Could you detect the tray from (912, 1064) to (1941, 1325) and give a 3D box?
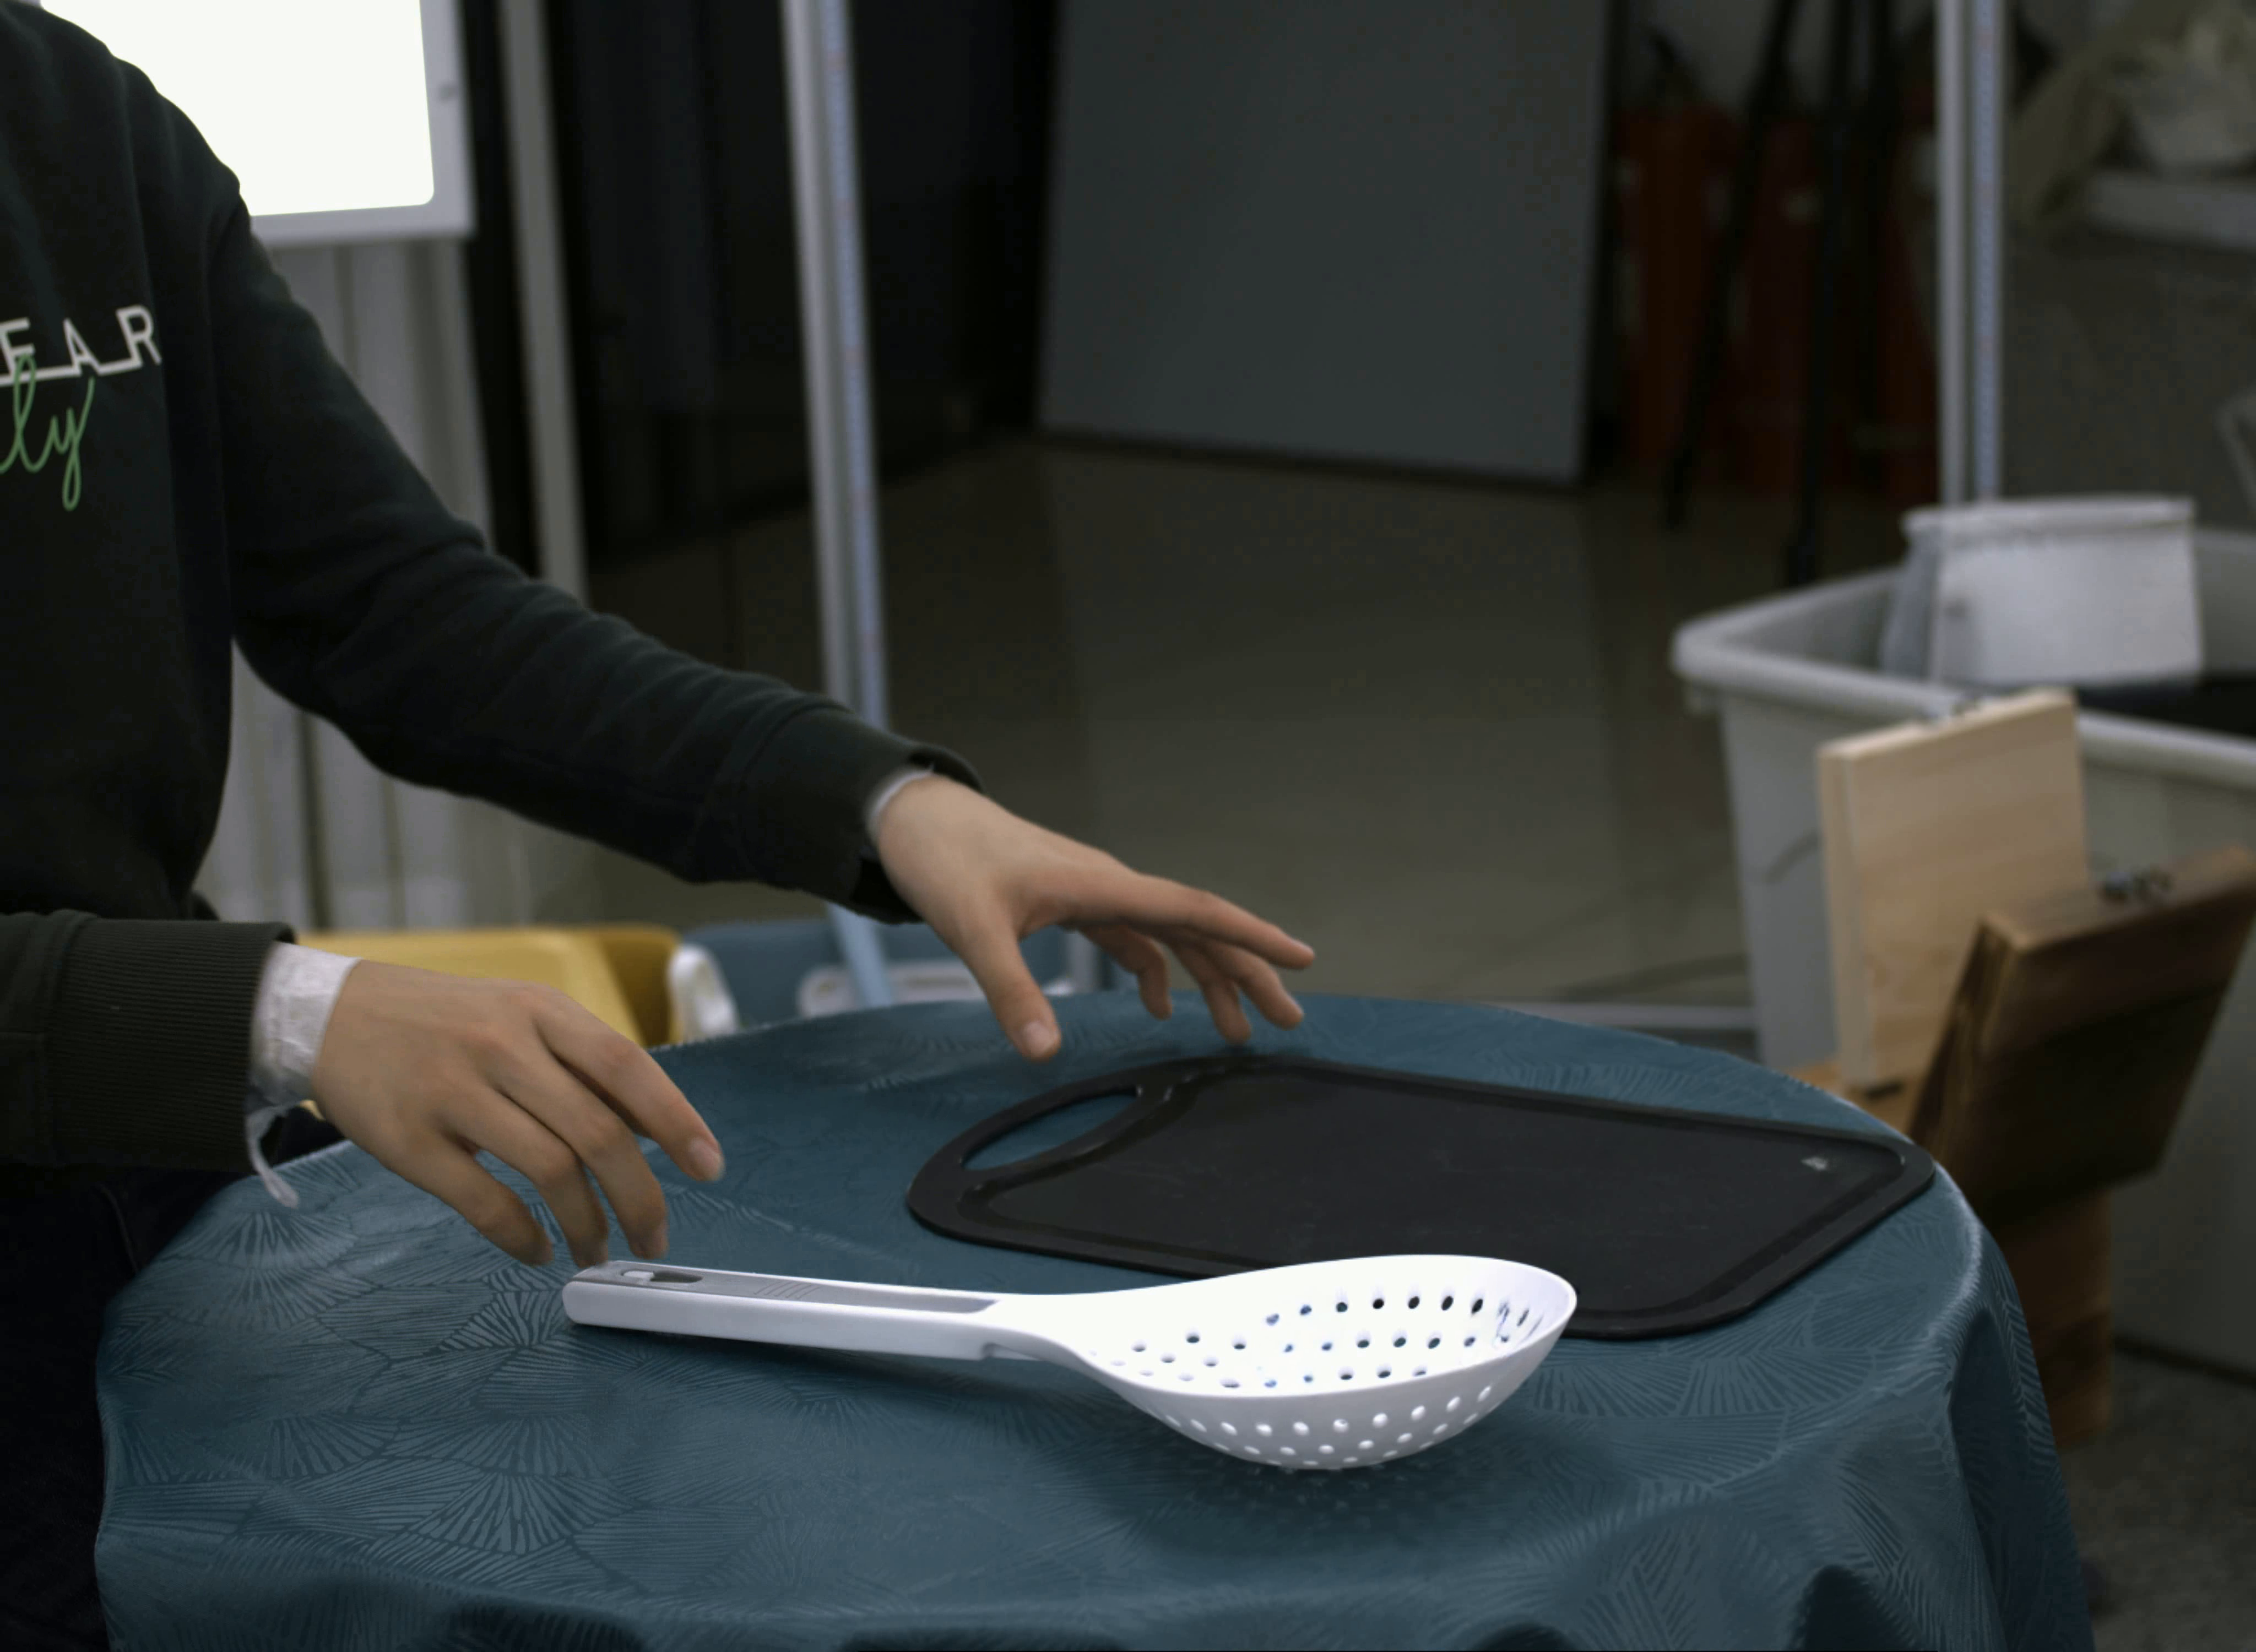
[{"bbox_3d":[0.088,0.116,1.754,0.327,0.010,0.207,5,16,35],"label":"tray"}]

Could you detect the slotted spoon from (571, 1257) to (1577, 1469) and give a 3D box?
[{"bbox_3d":[-0.027,0.147,1.580,0.352,0.046,0.133,5,14,36],"label":"slotted spoon"}]
